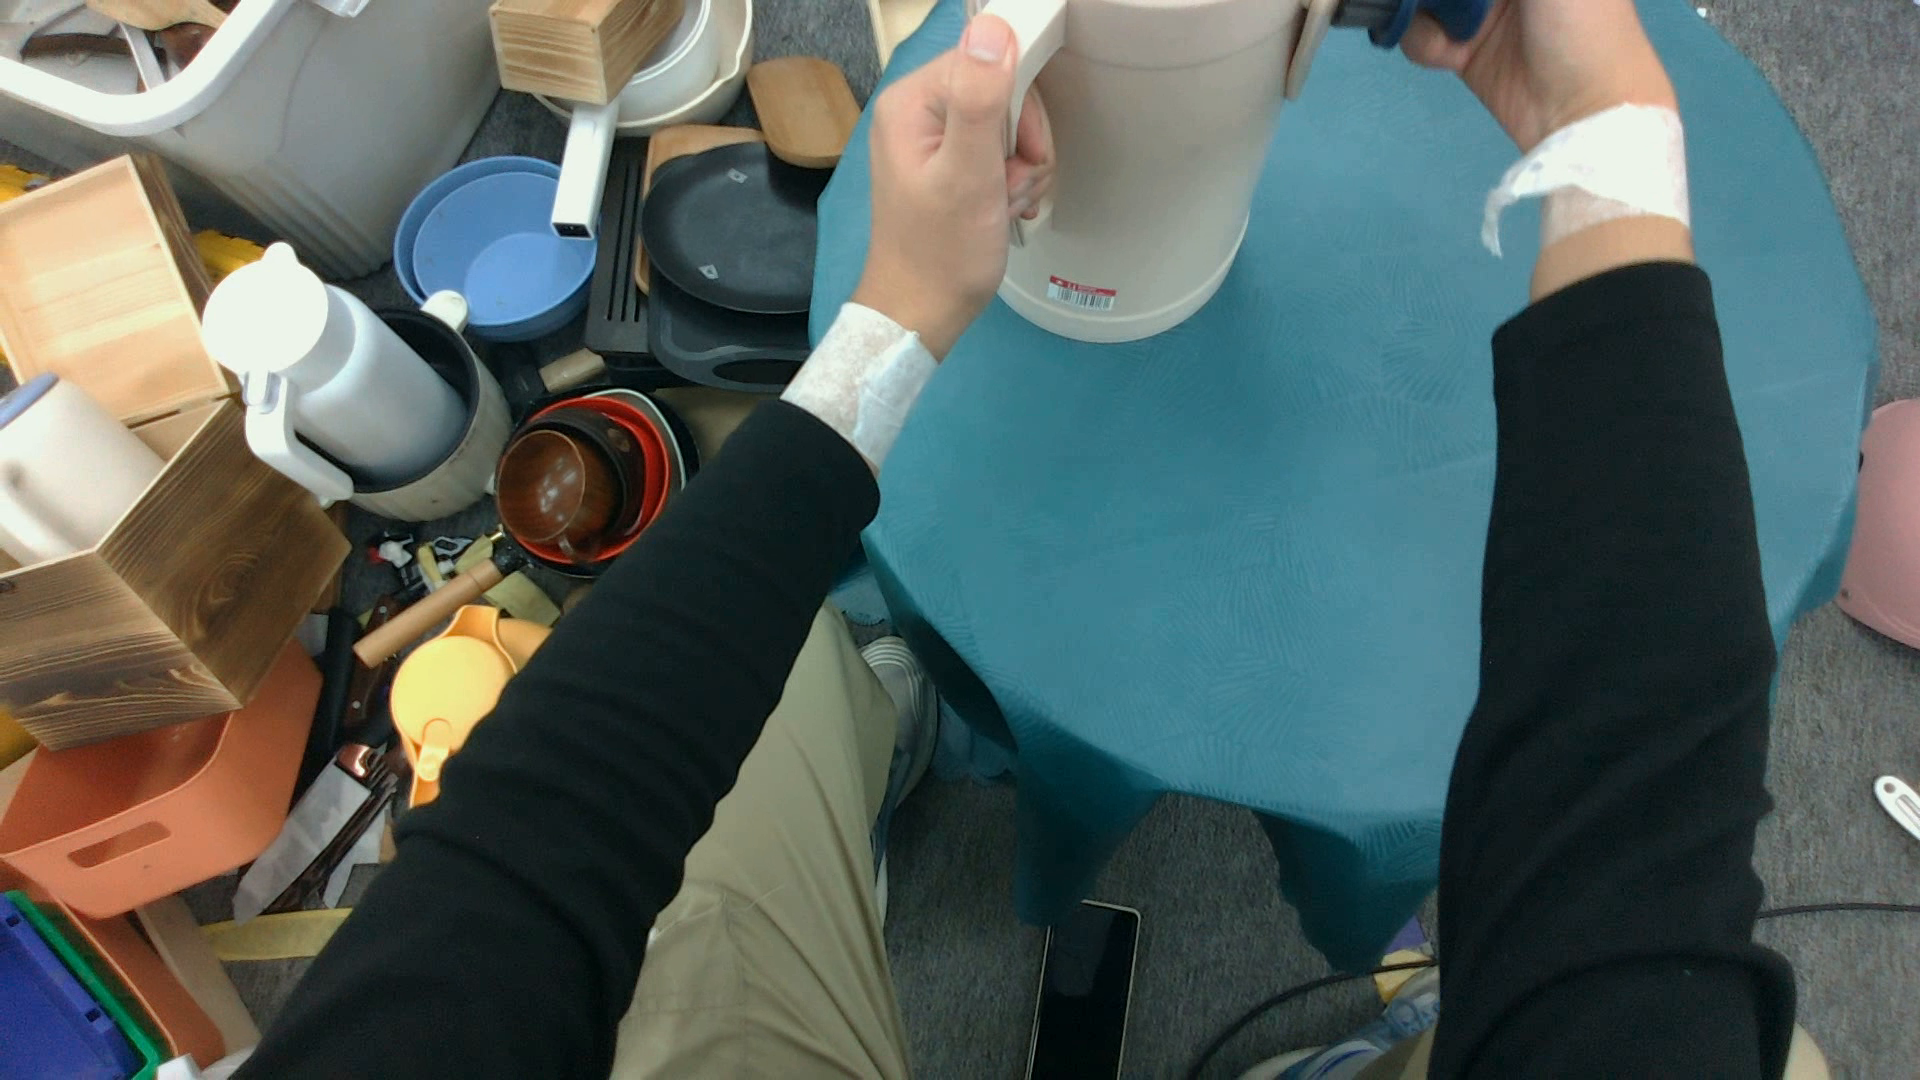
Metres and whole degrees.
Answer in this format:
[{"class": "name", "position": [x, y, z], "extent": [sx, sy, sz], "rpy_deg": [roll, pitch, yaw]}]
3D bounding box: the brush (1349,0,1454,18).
[{"class": "brush", "position": [0.172, -0.268, 0.555], "extent": [0.061, 0.067, 0.122], "rpy_deg": [7, 70, -1]}]

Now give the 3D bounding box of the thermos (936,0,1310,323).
[{"class": "thermos", "position": [0.059, -0.239, 0.614], "extent": [0.175, 0.405, 0.207], "rpy_deg": [34, 78, 8]}]
